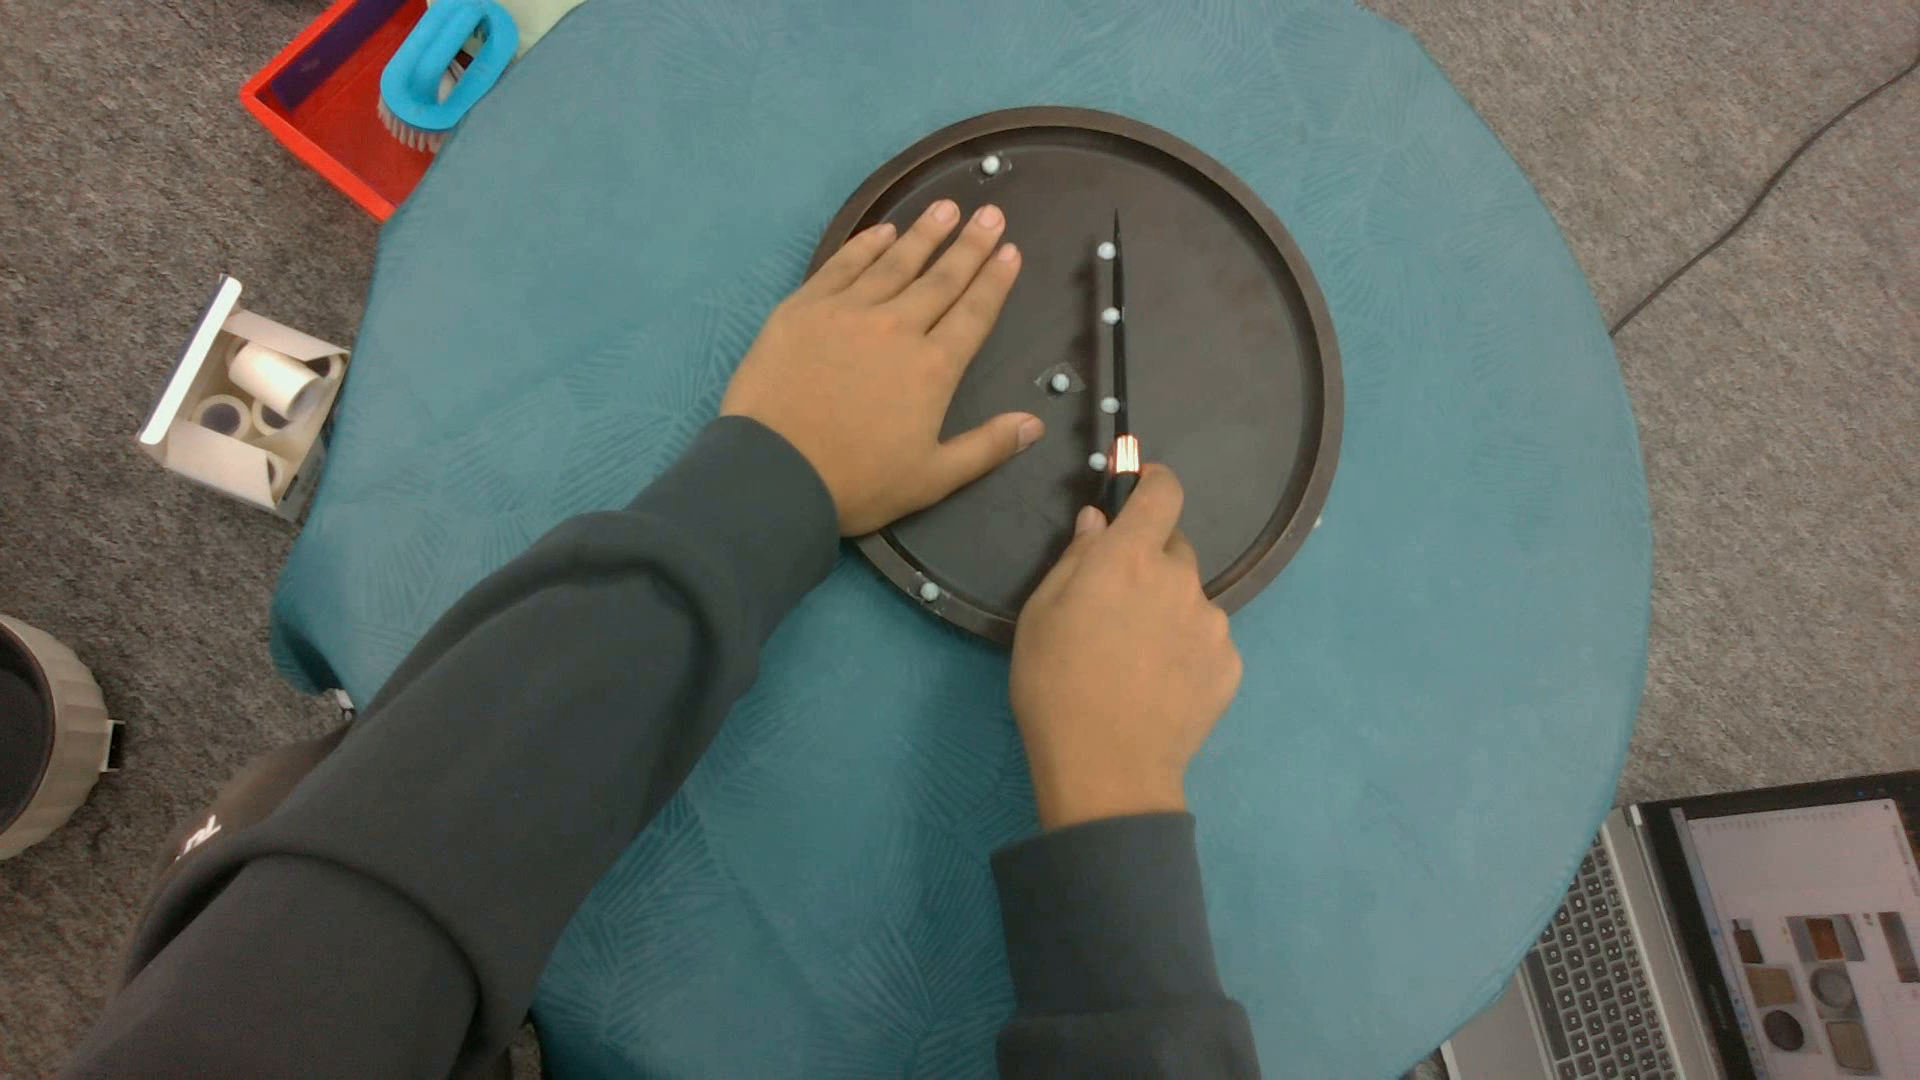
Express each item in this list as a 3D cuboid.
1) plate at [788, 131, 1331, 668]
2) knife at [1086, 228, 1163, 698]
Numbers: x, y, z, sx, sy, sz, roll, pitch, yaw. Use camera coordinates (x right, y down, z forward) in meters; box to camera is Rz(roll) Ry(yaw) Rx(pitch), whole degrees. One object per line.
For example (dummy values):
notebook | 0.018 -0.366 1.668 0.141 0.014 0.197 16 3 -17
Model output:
plate | 0.048 -0.067 0.629 0.255 0.029 0.255 2 79 -10
knife | 0.070 -0.041 0.607 0.017 0.026 0.226 -3 73 -5
